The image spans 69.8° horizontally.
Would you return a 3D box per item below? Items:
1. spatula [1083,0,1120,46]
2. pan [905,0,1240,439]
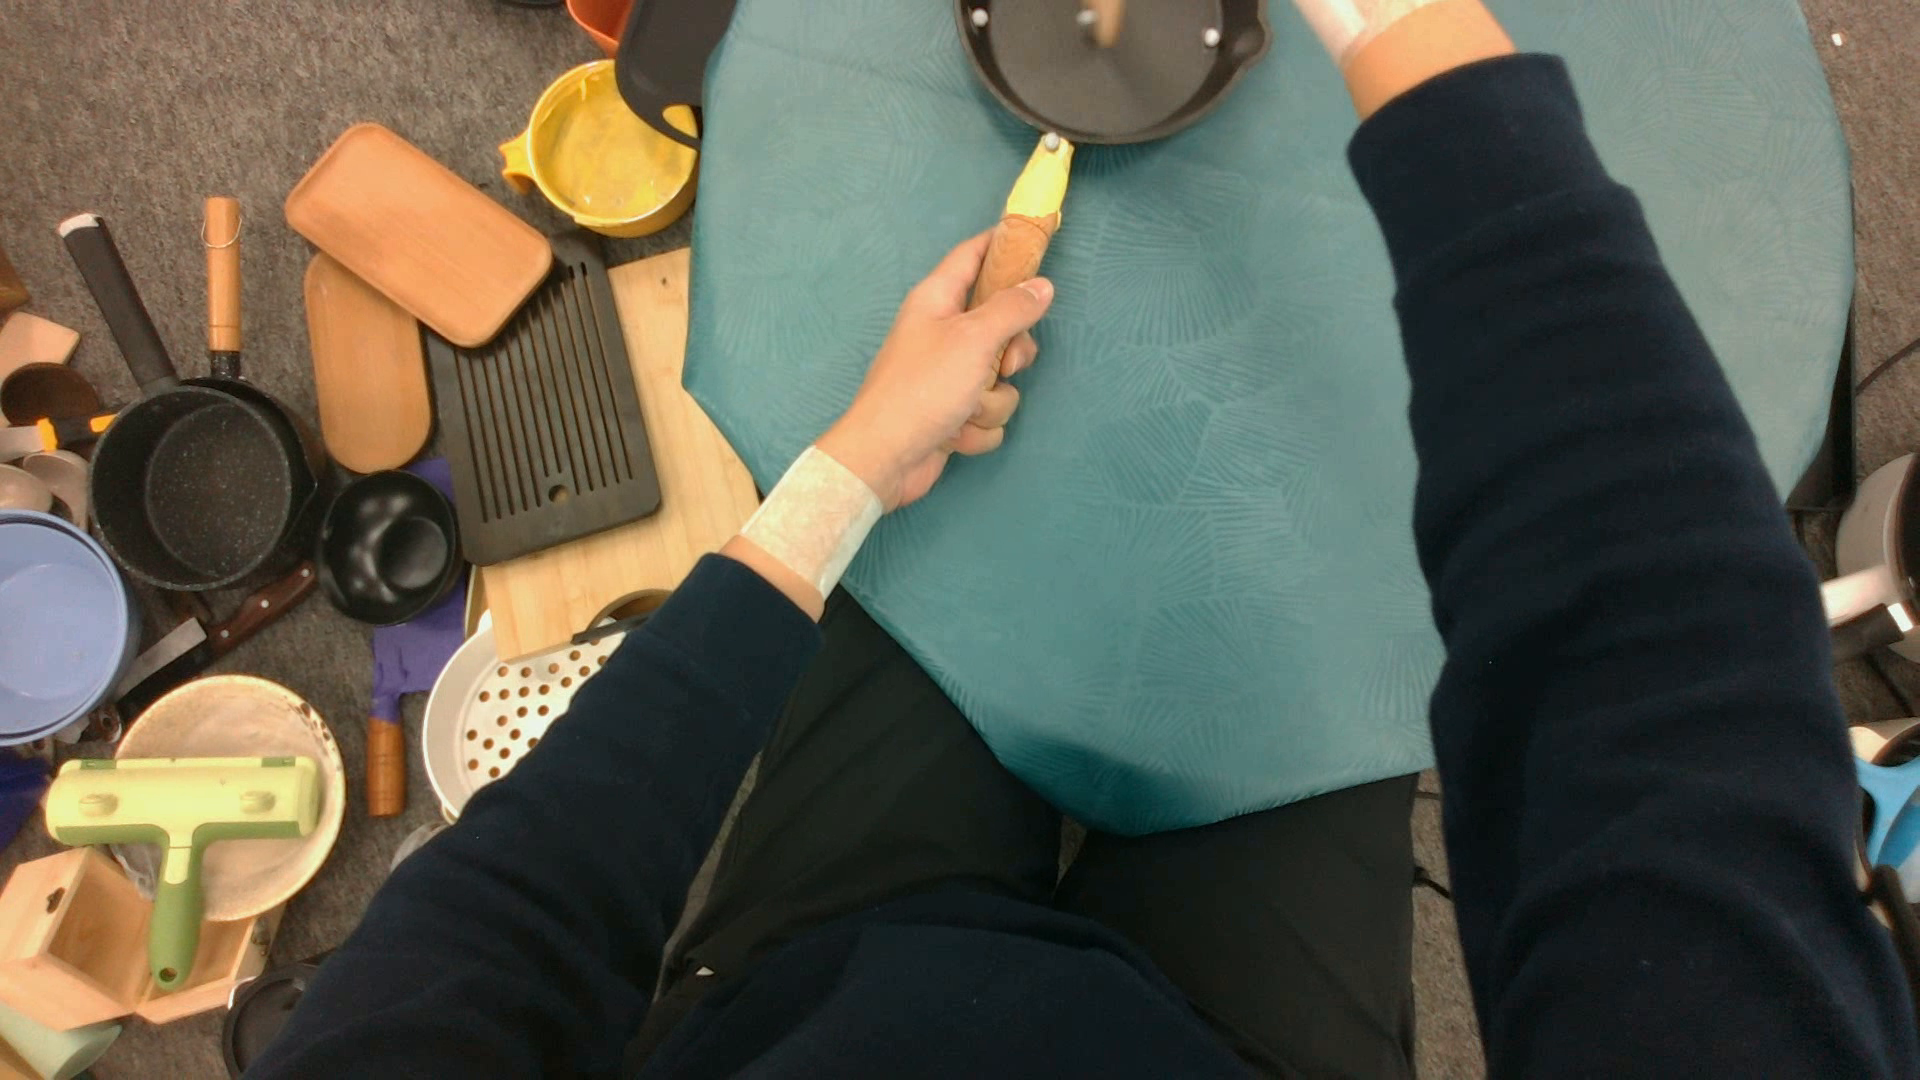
[{"bbox_3d":[0.054,-0.290,0.570,0.016,0.328,0.080,-19,90,6],"label":"spatula"},{"bbox_3d":[0.033,-0.200,0.693,0.169,0.049,0.324,20,81,2],"label":"pan"}]
